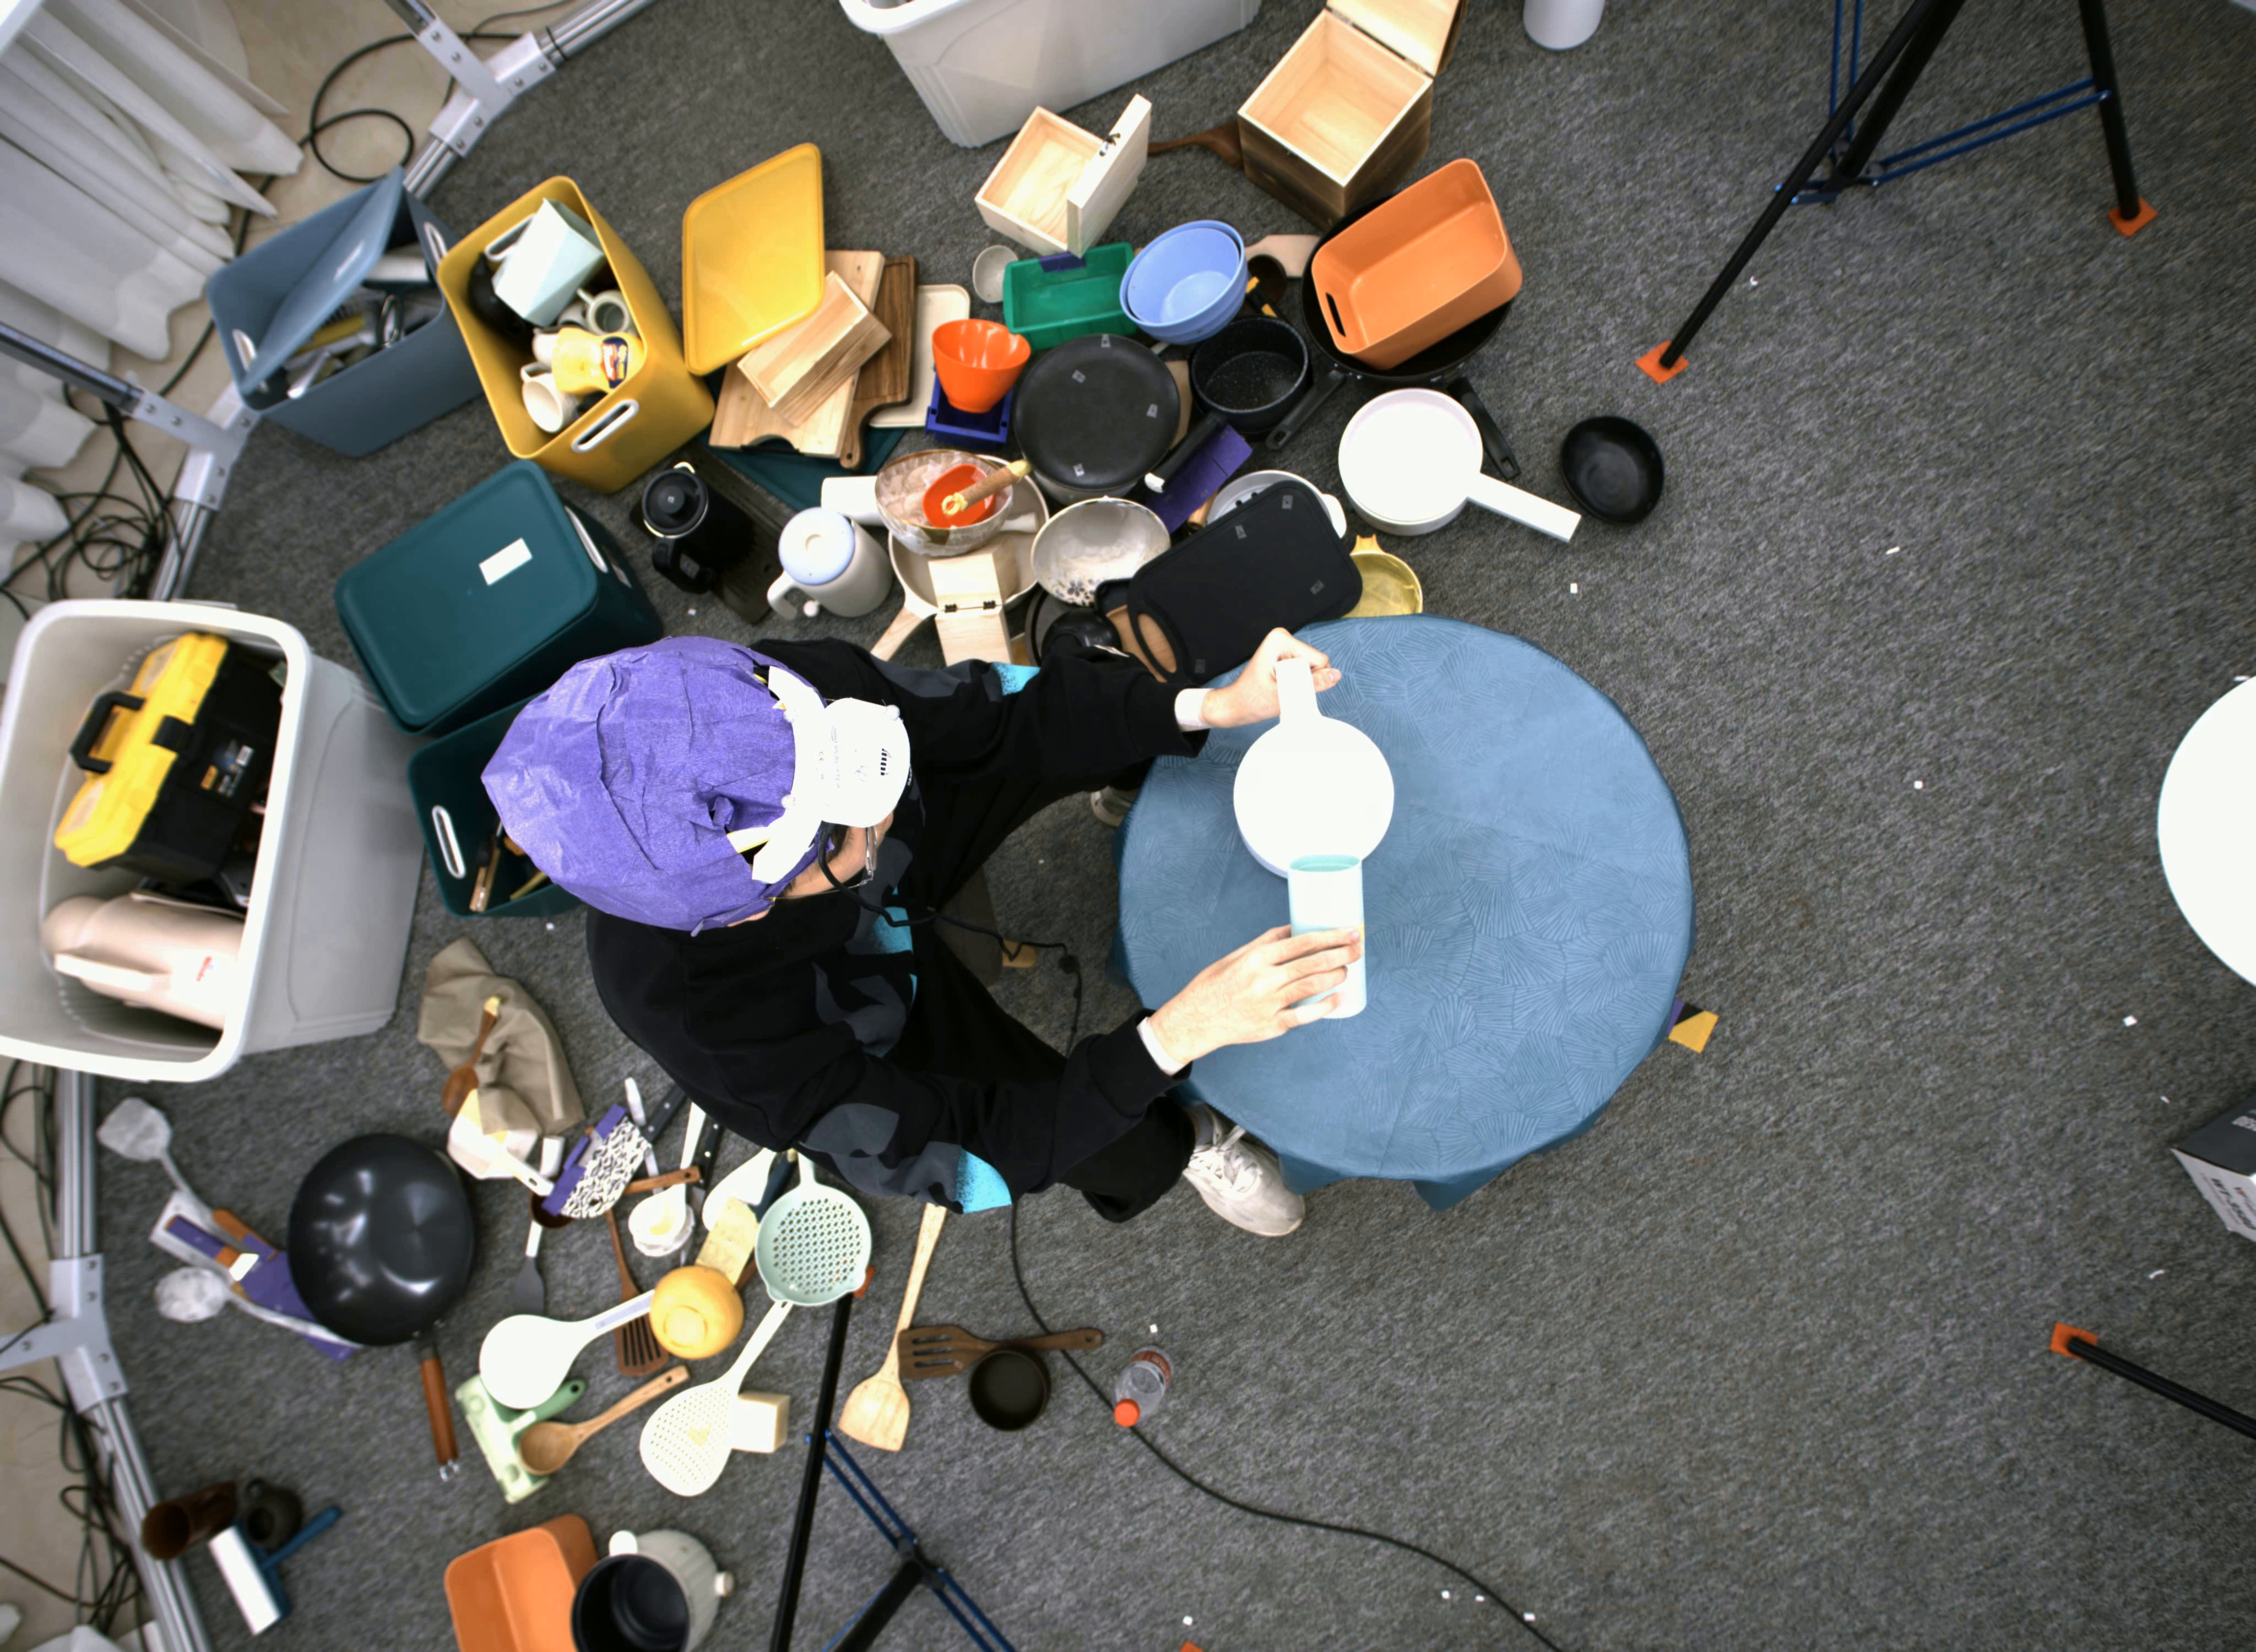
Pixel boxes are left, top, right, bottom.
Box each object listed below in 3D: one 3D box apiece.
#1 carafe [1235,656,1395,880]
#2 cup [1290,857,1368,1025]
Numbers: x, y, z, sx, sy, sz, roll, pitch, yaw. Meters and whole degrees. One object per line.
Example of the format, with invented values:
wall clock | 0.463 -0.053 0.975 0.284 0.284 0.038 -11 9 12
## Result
carafe | 0.176 -0.049 1.343 0.152 0.240 0.213 -7 89 5
cup | 0.173 0.098 1.194 0.067 0.065 0.134 -1 109 10
